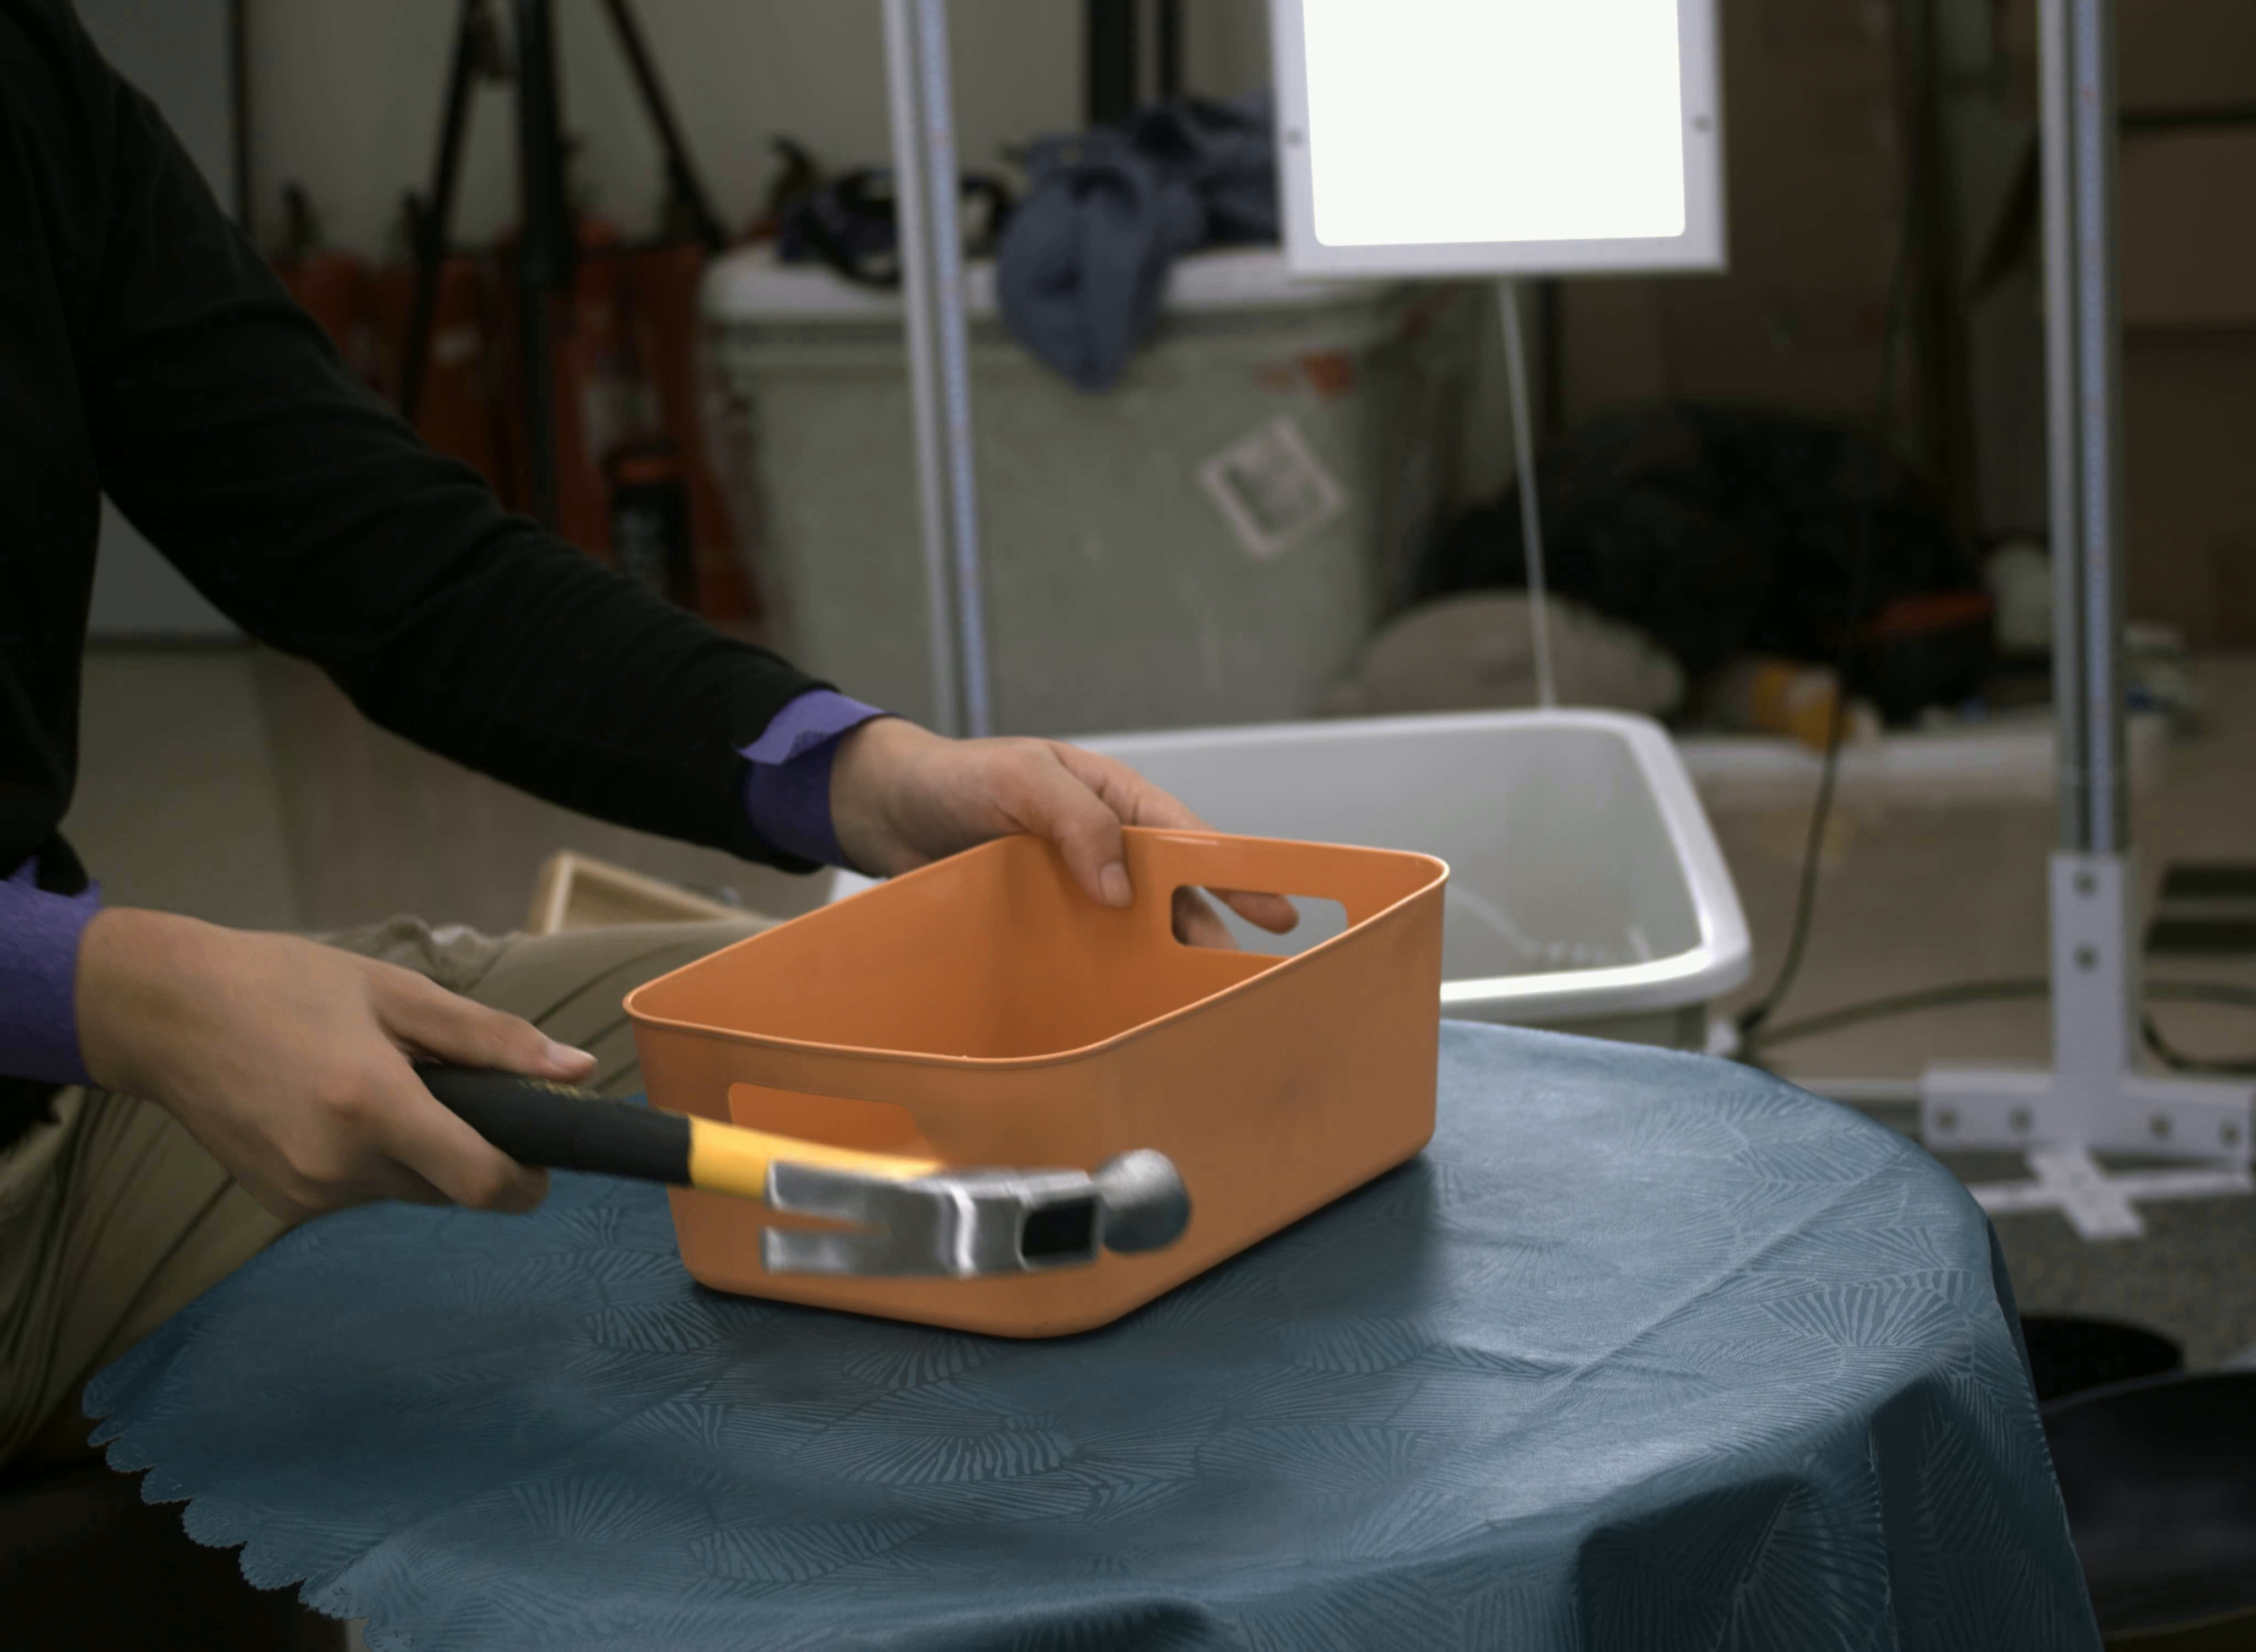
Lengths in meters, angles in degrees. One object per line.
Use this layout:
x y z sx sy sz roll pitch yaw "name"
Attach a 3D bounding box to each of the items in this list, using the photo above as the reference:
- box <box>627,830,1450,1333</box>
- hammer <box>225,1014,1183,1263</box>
-0.025 0.084 1.867 0.203 0.103 0.266 4 16 35 "box"
-0.153 0.092 1.696 0.345 0.032 0.128 8 7 40 "hammer"
